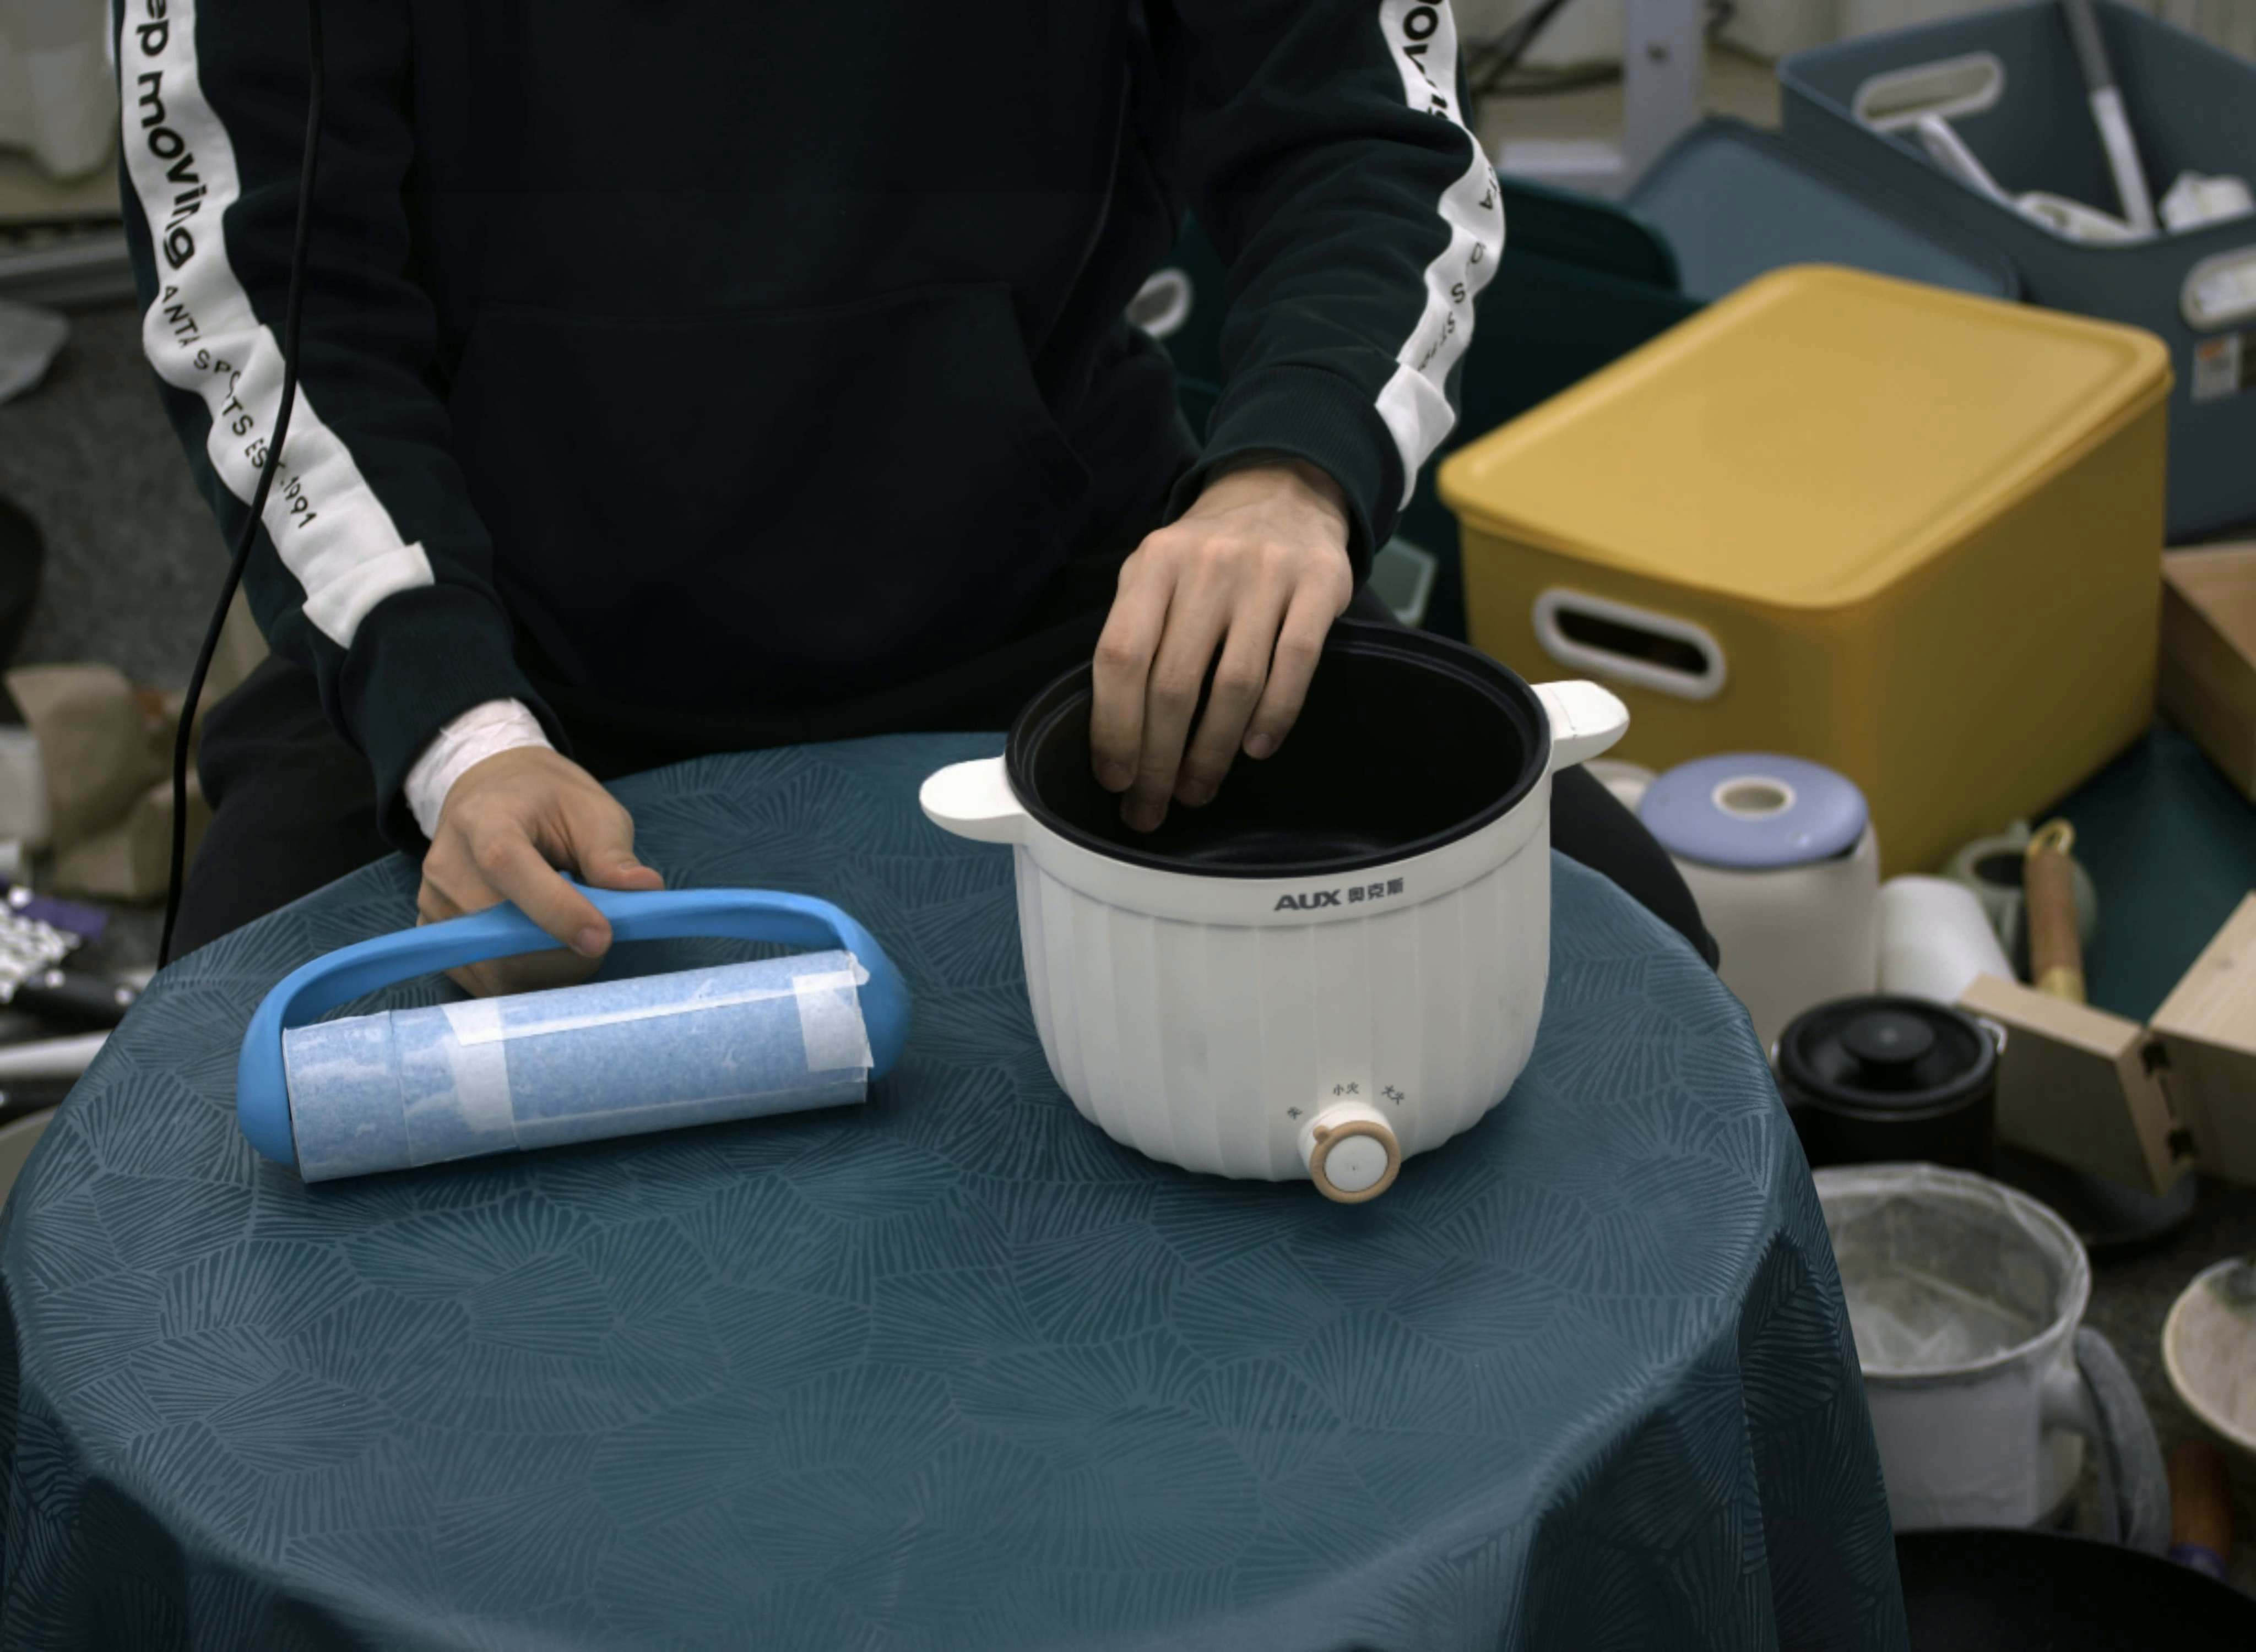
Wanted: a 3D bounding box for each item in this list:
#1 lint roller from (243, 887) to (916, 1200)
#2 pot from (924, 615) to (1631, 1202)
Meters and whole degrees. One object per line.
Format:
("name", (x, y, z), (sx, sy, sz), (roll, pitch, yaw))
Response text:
("lint roller", (-0.199, 0.056, 1.946), (0.229, 0.067, 0.182), (-11, 29, -11))
("pot", (0.056, 0.031, 1.880), (0.240, 0.141, 0.192), (-9, 25, -9))
